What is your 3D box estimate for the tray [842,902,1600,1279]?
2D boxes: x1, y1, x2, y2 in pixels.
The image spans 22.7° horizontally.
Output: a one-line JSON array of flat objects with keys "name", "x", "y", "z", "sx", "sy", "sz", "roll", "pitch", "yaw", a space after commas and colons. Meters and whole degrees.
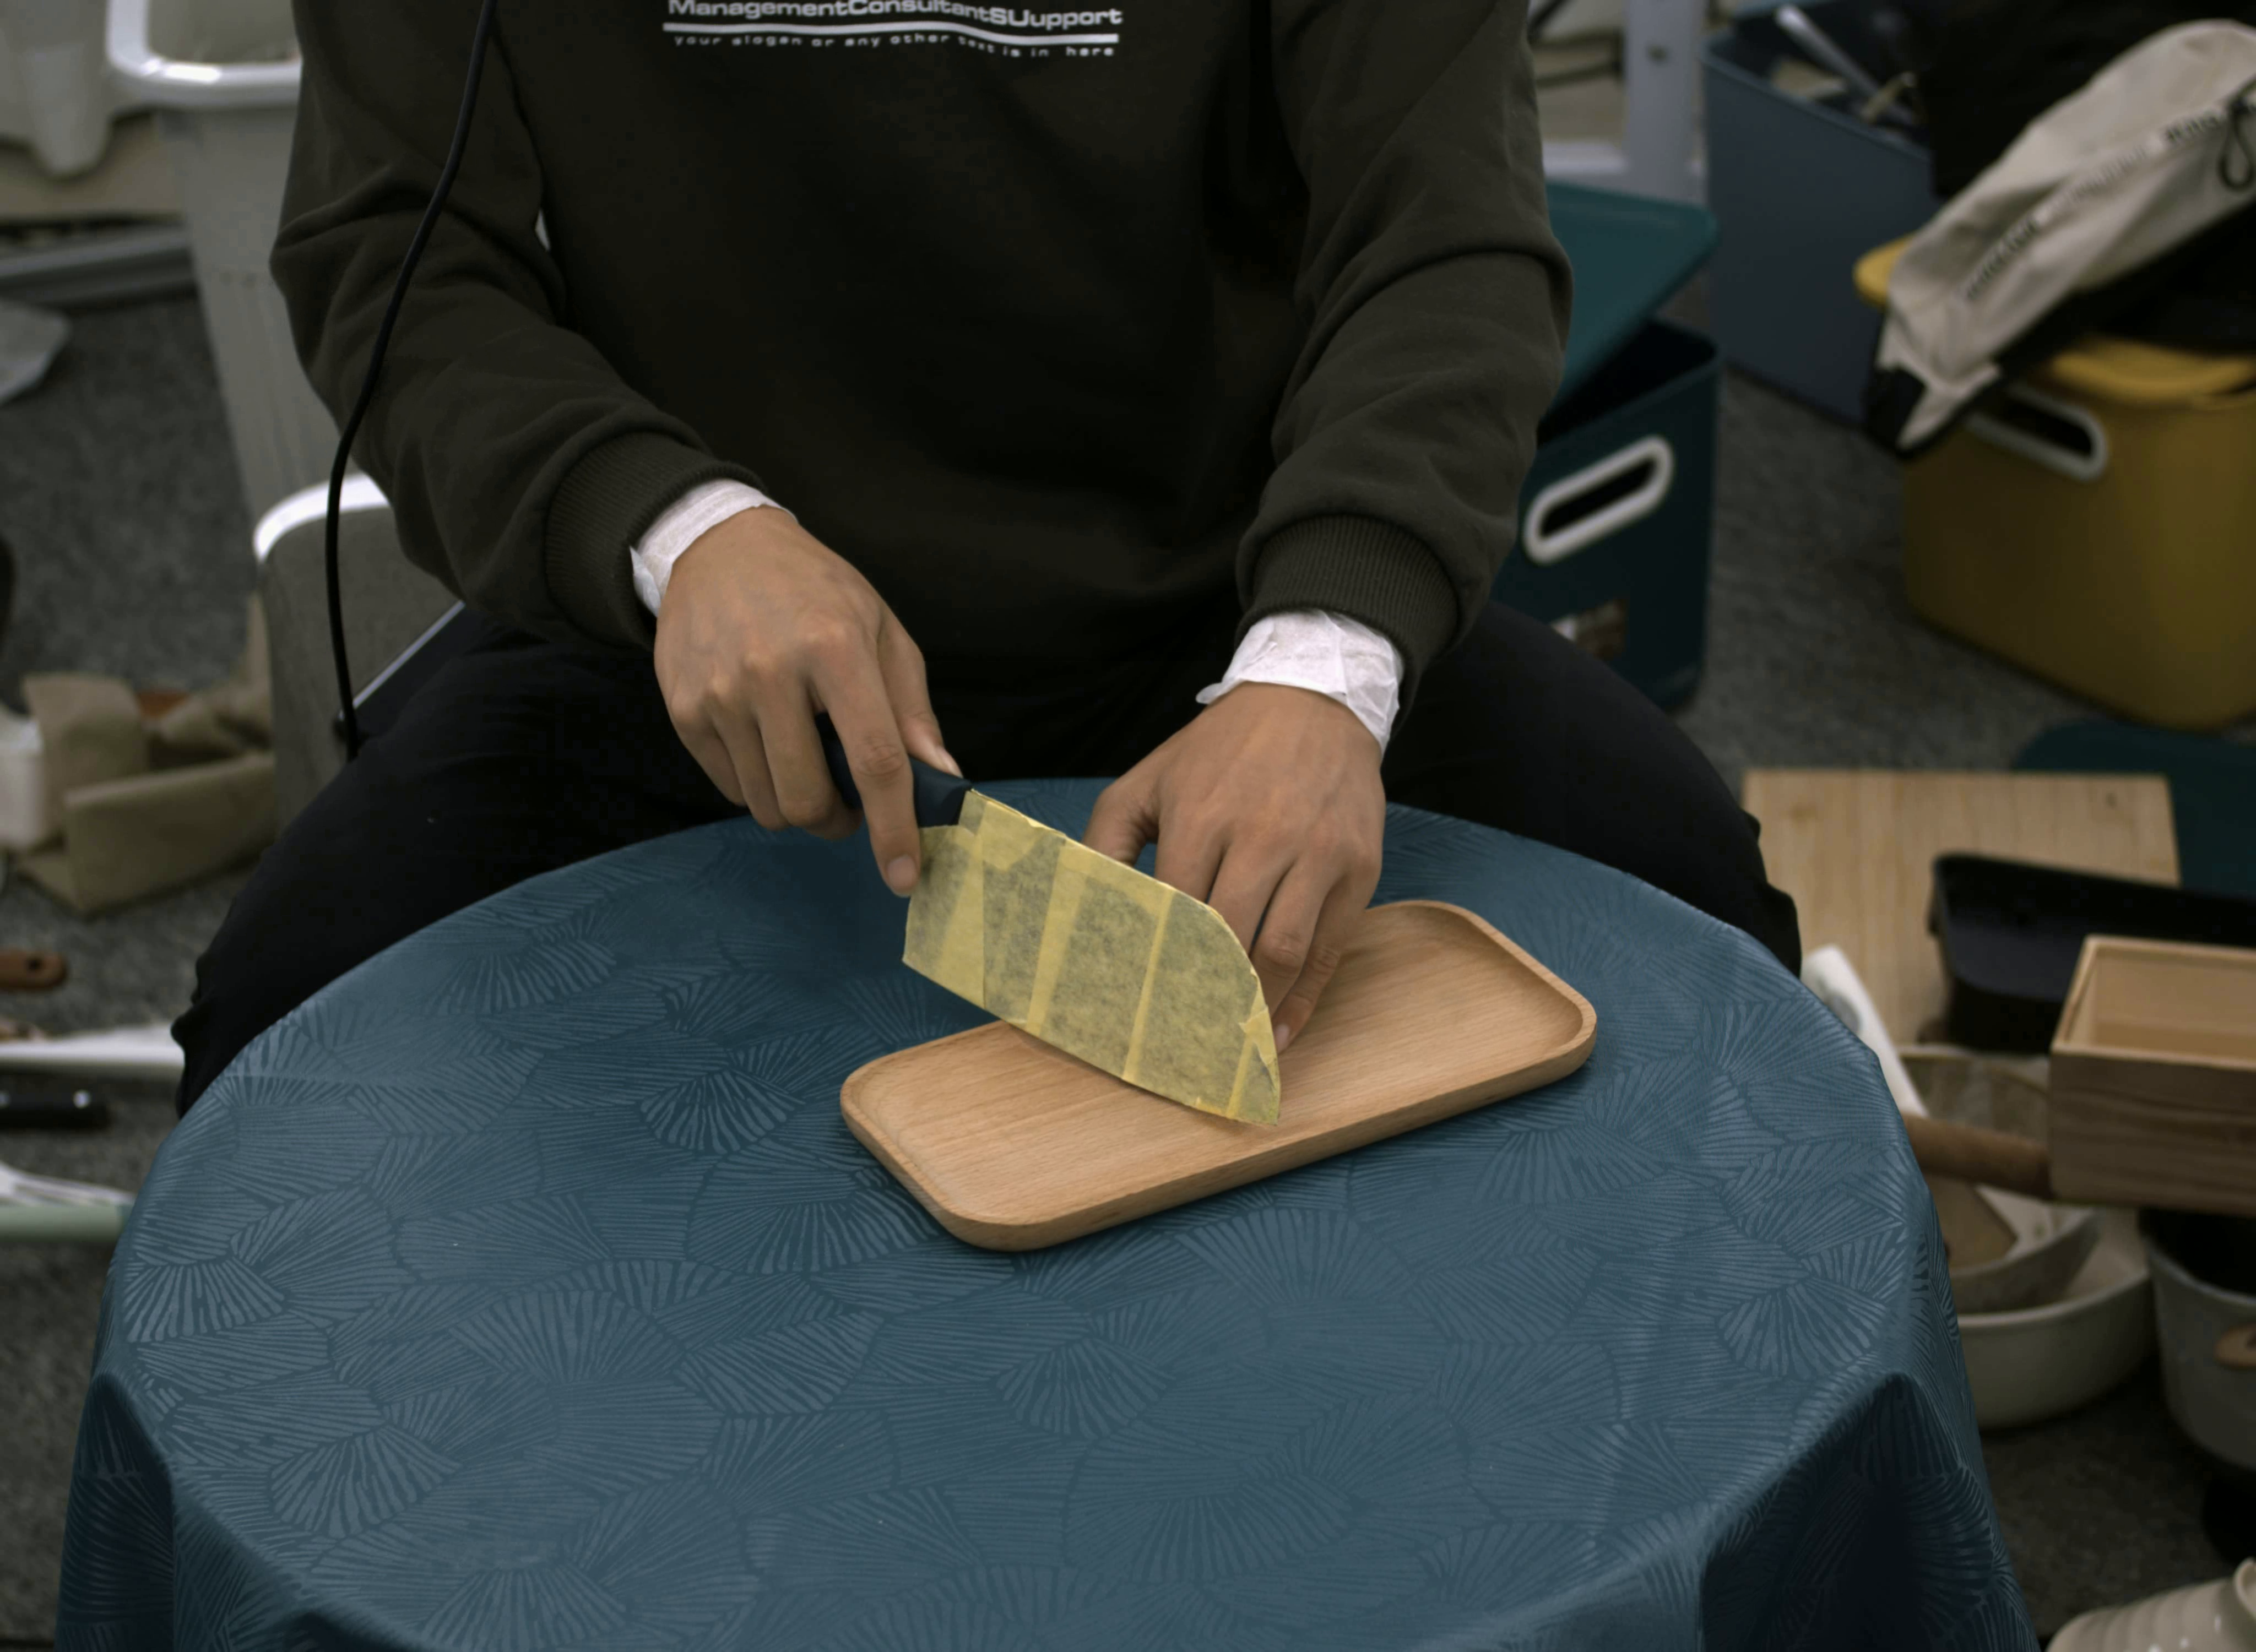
[{"name": "tray", "x": 0.032, "y": 0.089, "z": 1.913, "sx": 0.252, "sy": 0.022, "sz": 0.131, "roll": -19, "pitch": 28, "yaw": -23}]

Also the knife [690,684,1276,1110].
[{"name": "knife", "x": -0.053, "y": 0.022, "z": 1.945, "sx": 0.290, "sy": 0.080, "sz": 0.027, "roll": 30, "pitch": 21, "yaw": 36}]
